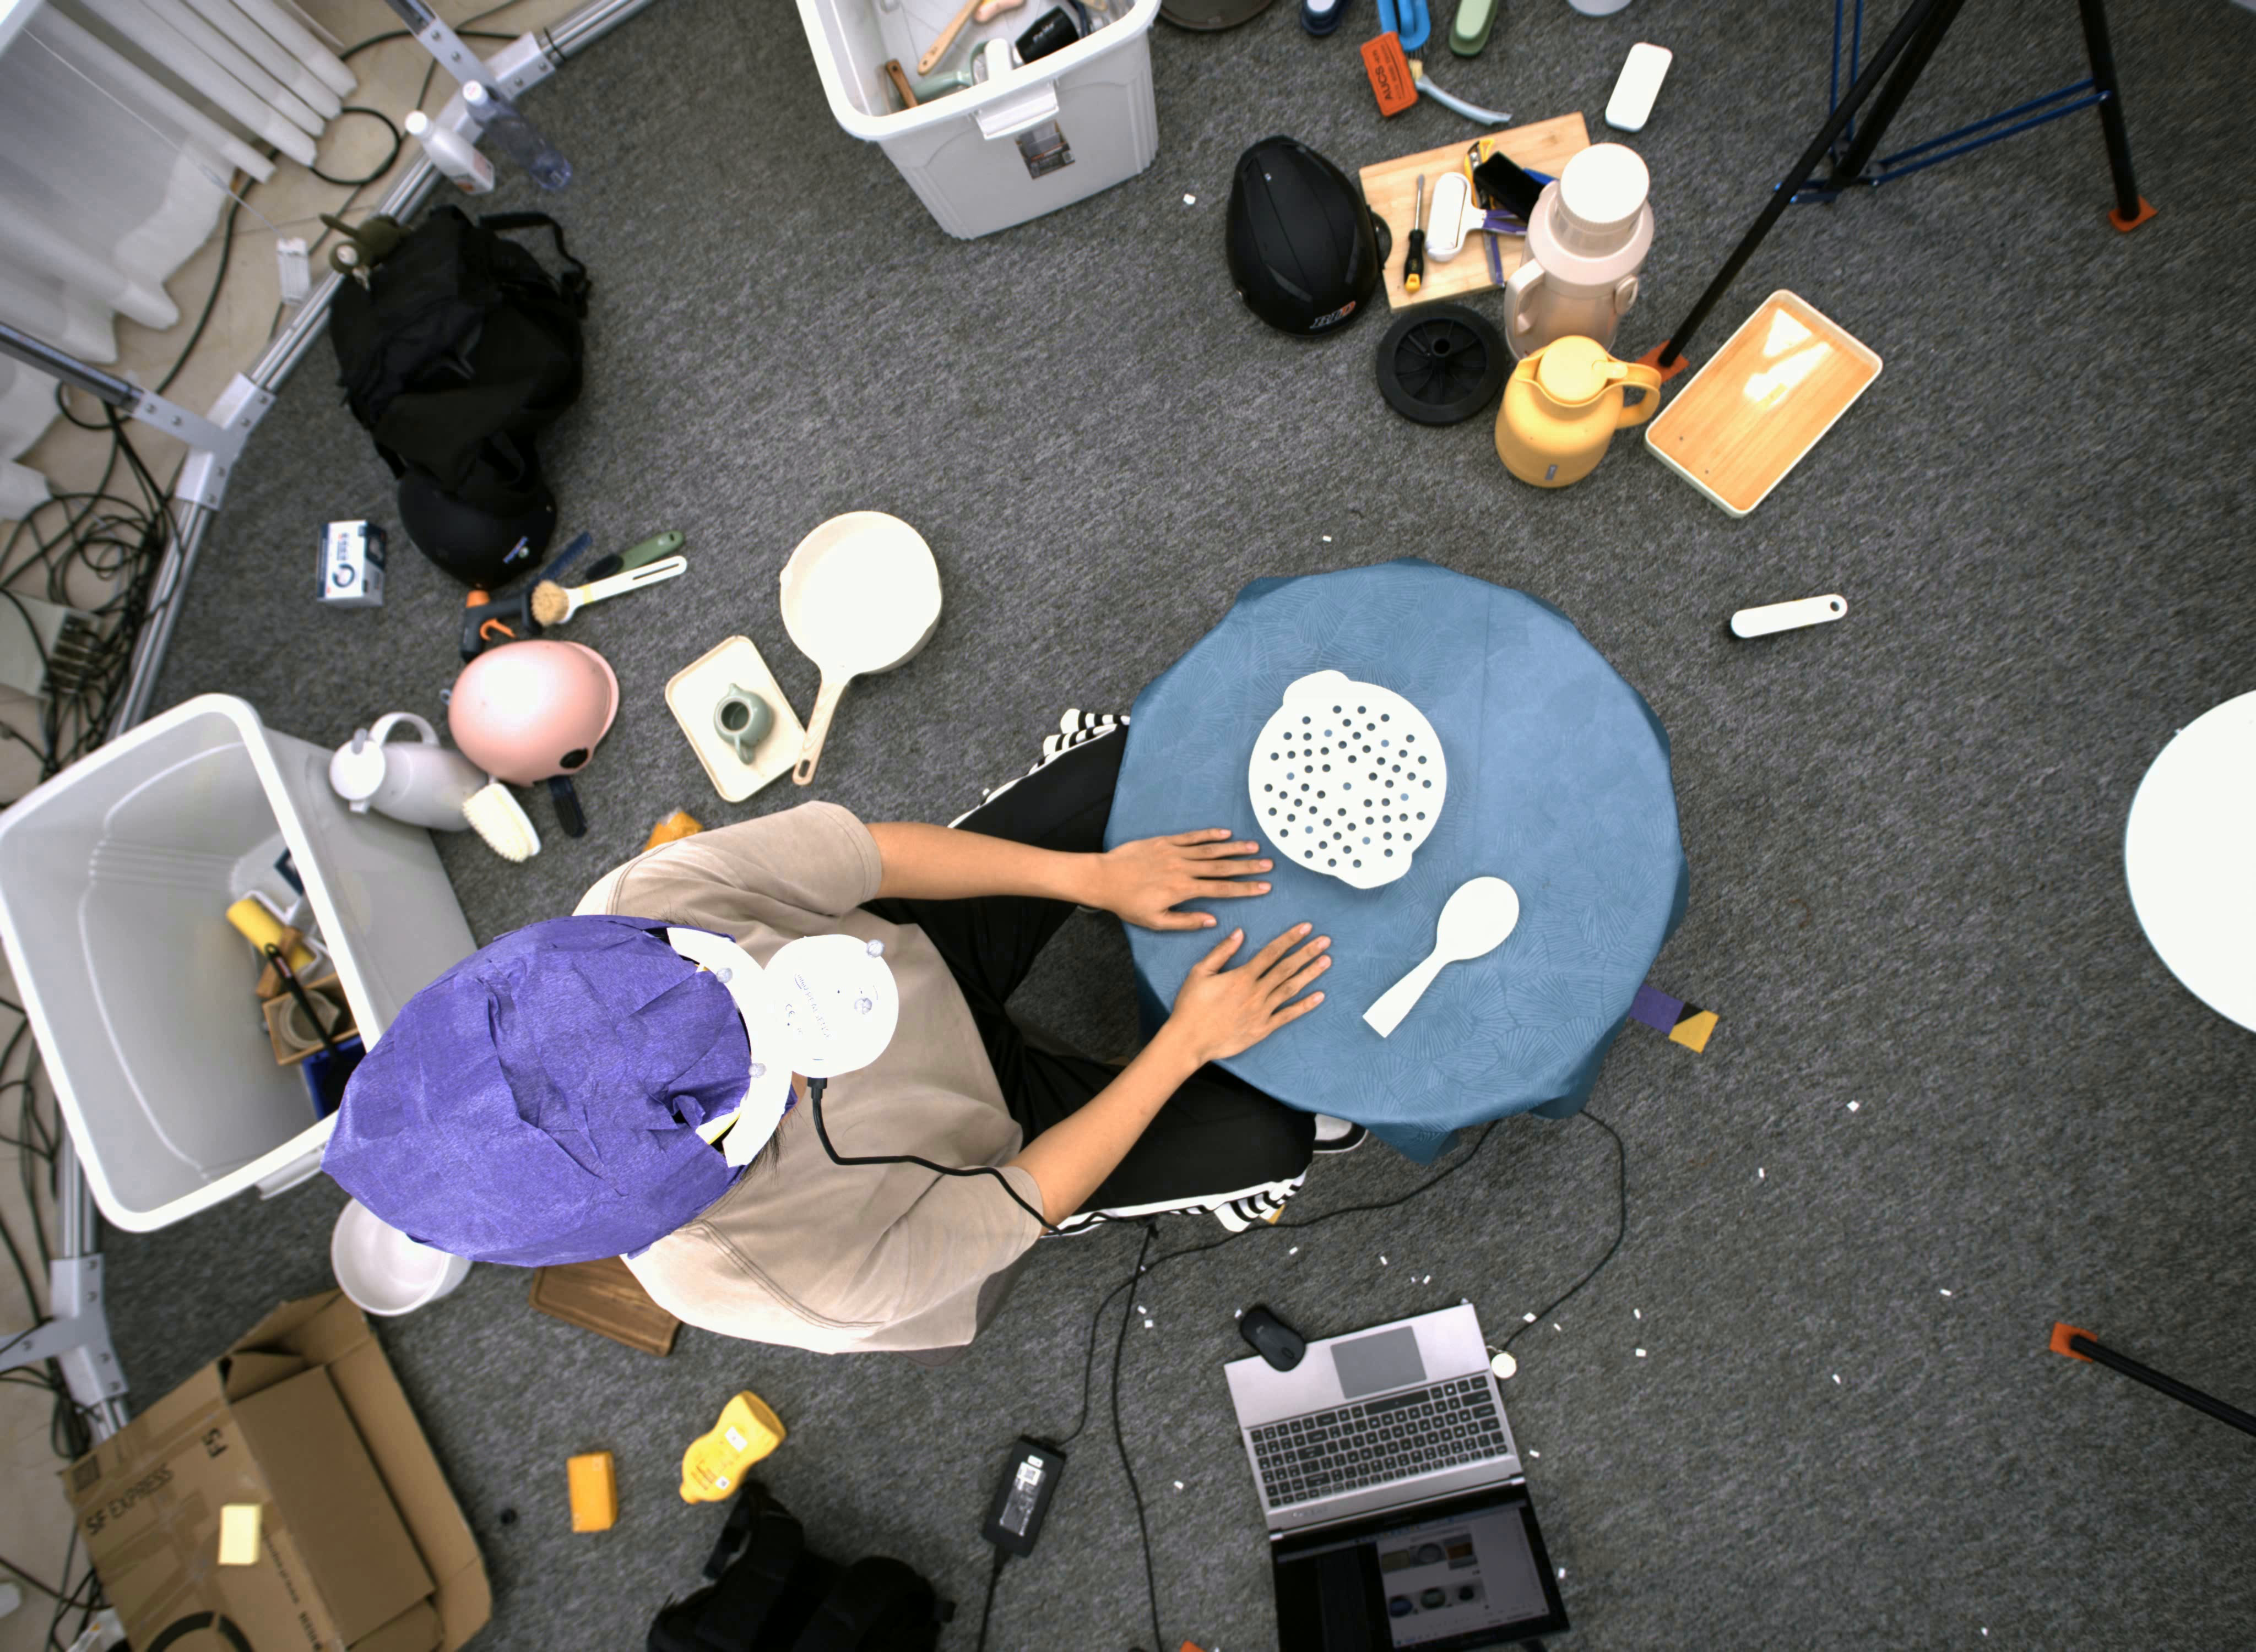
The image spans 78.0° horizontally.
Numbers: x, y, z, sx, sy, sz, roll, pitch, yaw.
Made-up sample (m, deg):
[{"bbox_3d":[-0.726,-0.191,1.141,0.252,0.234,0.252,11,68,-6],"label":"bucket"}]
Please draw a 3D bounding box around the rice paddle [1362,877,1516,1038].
[{"bbox_3d":[0.323,0.134,1.432,0.068,0.029,0.206,43,94,9],"label":"rice paddle"}]

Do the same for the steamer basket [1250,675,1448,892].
[{"bbox_3d":[0.231,-0.042,1.442,0.203,0.069,0.229,-19,82,8],"label":"steamer basket"}]
